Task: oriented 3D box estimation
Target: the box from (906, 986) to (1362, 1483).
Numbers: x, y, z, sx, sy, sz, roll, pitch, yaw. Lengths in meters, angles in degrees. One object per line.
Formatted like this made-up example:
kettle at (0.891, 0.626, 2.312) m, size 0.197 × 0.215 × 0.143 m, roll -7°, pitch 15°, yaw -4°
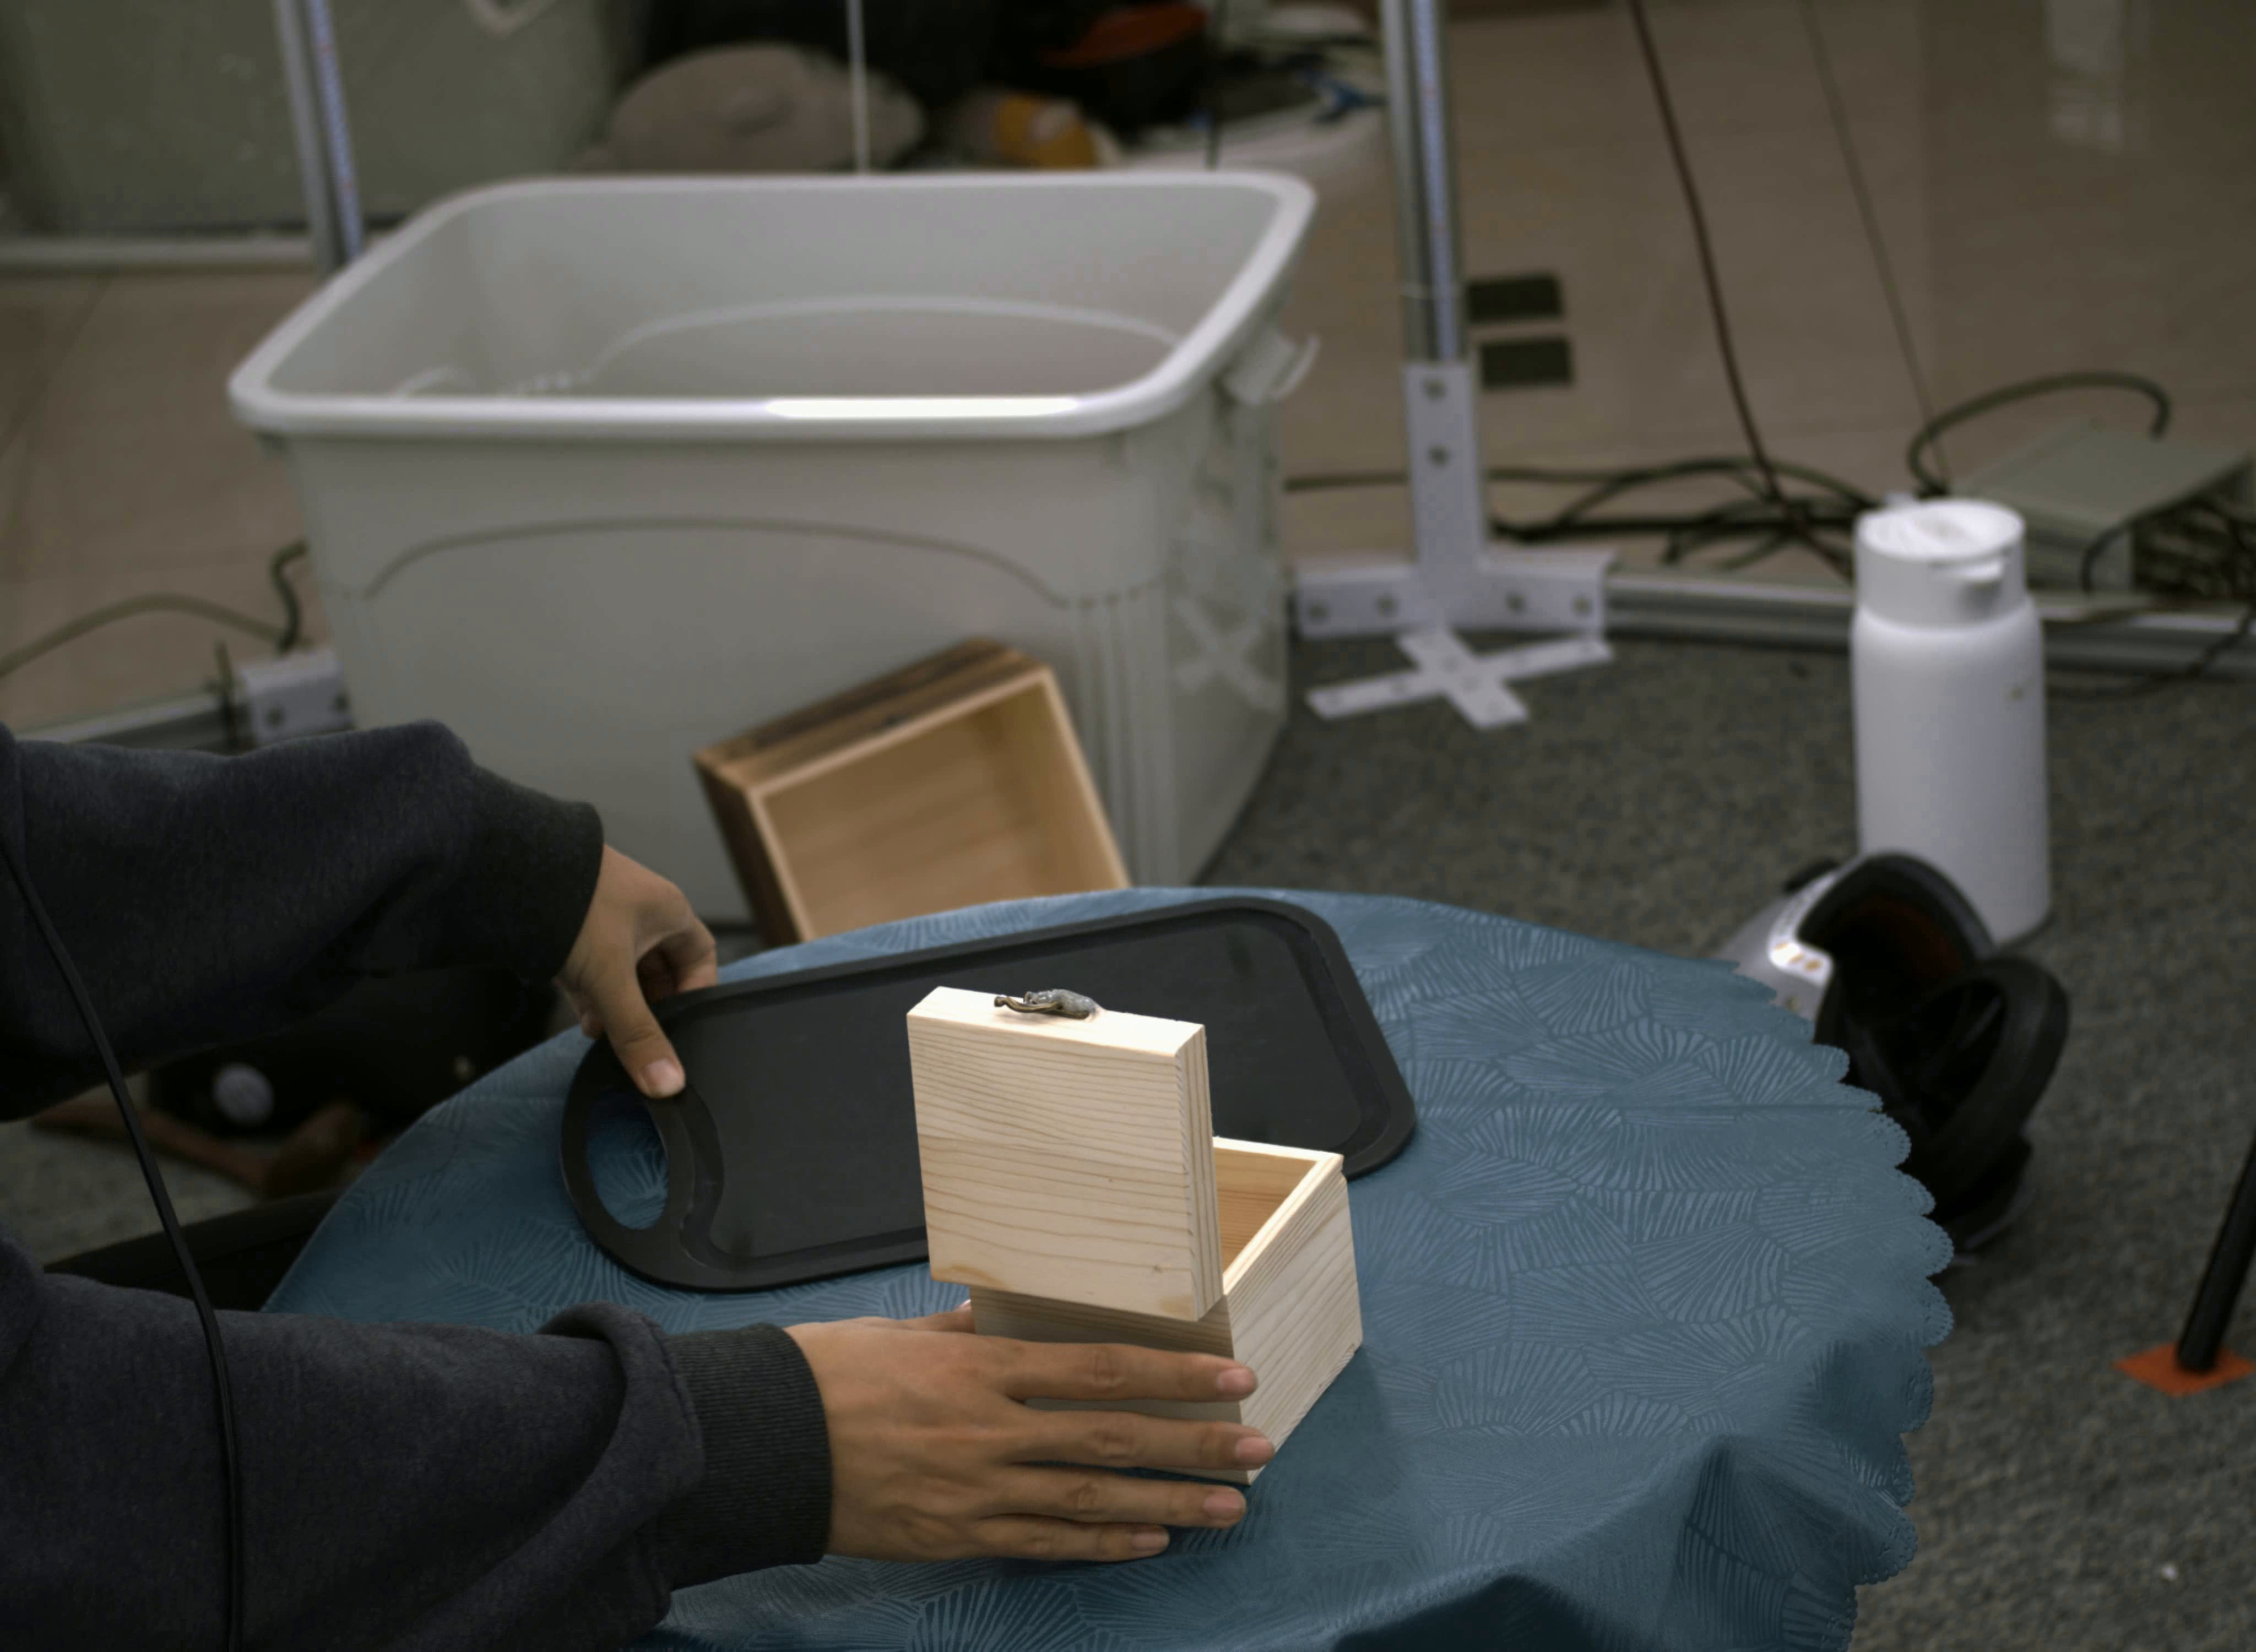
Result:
box at (0.005, 0.122, 1.960) m, size 0.102 × 0.187 × 0.132 m, roll 7°, pitch 30°, yaw 24°

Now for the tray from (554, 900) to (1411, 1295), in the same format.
tray at (-0.061, 0.103, 2.204) m, size 0.325 × 0.010 × 0.207 m, roll -10°, pitch 32°, yaw -7°
